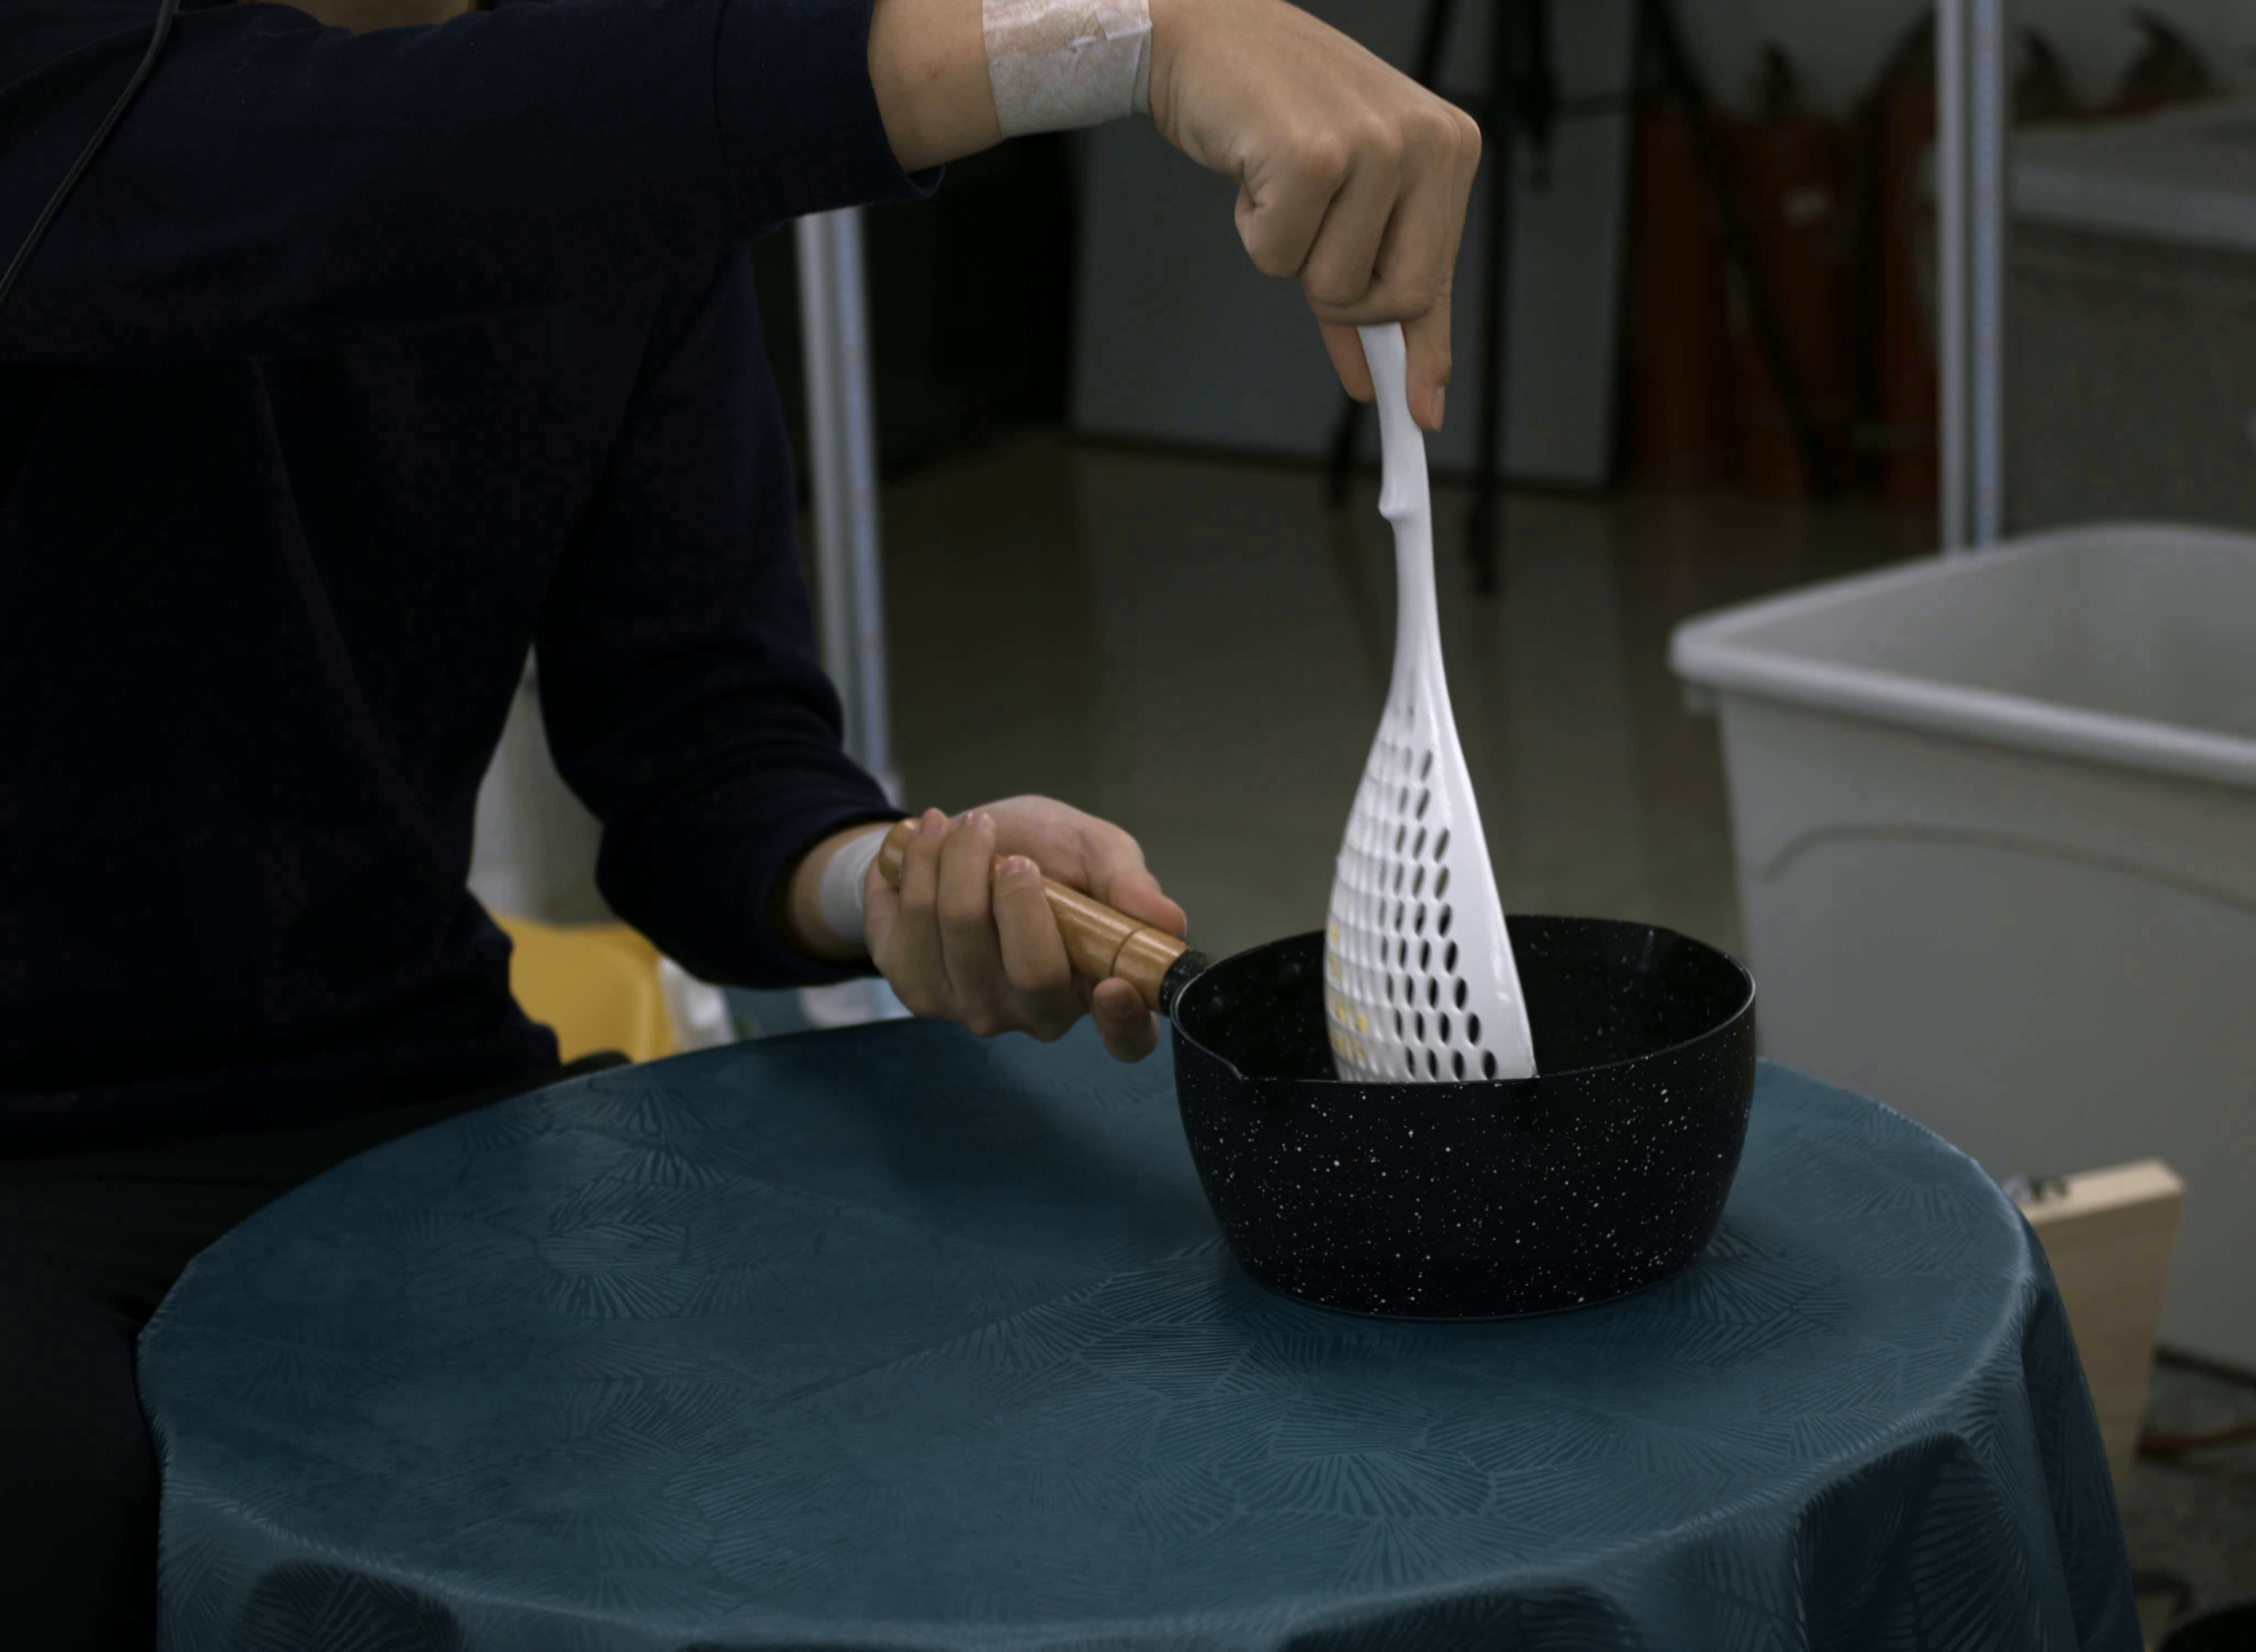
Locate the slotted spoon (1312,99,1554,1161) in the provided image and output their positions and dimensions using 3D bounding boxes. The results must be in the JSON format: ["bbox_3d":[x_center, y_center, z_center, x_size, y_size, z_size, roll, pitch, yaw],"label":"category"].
[{"bbox_3d":[0.082,-0.044,1.635,0.049,0.352,0.138,-5,12,-16],"label":"slotted spoon"}]

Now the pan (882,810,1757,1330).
[{"bbox_3d":[0.047,0.071,1.734,0.346,0.109,0.203,10,21,41],"label":"pan"}]
